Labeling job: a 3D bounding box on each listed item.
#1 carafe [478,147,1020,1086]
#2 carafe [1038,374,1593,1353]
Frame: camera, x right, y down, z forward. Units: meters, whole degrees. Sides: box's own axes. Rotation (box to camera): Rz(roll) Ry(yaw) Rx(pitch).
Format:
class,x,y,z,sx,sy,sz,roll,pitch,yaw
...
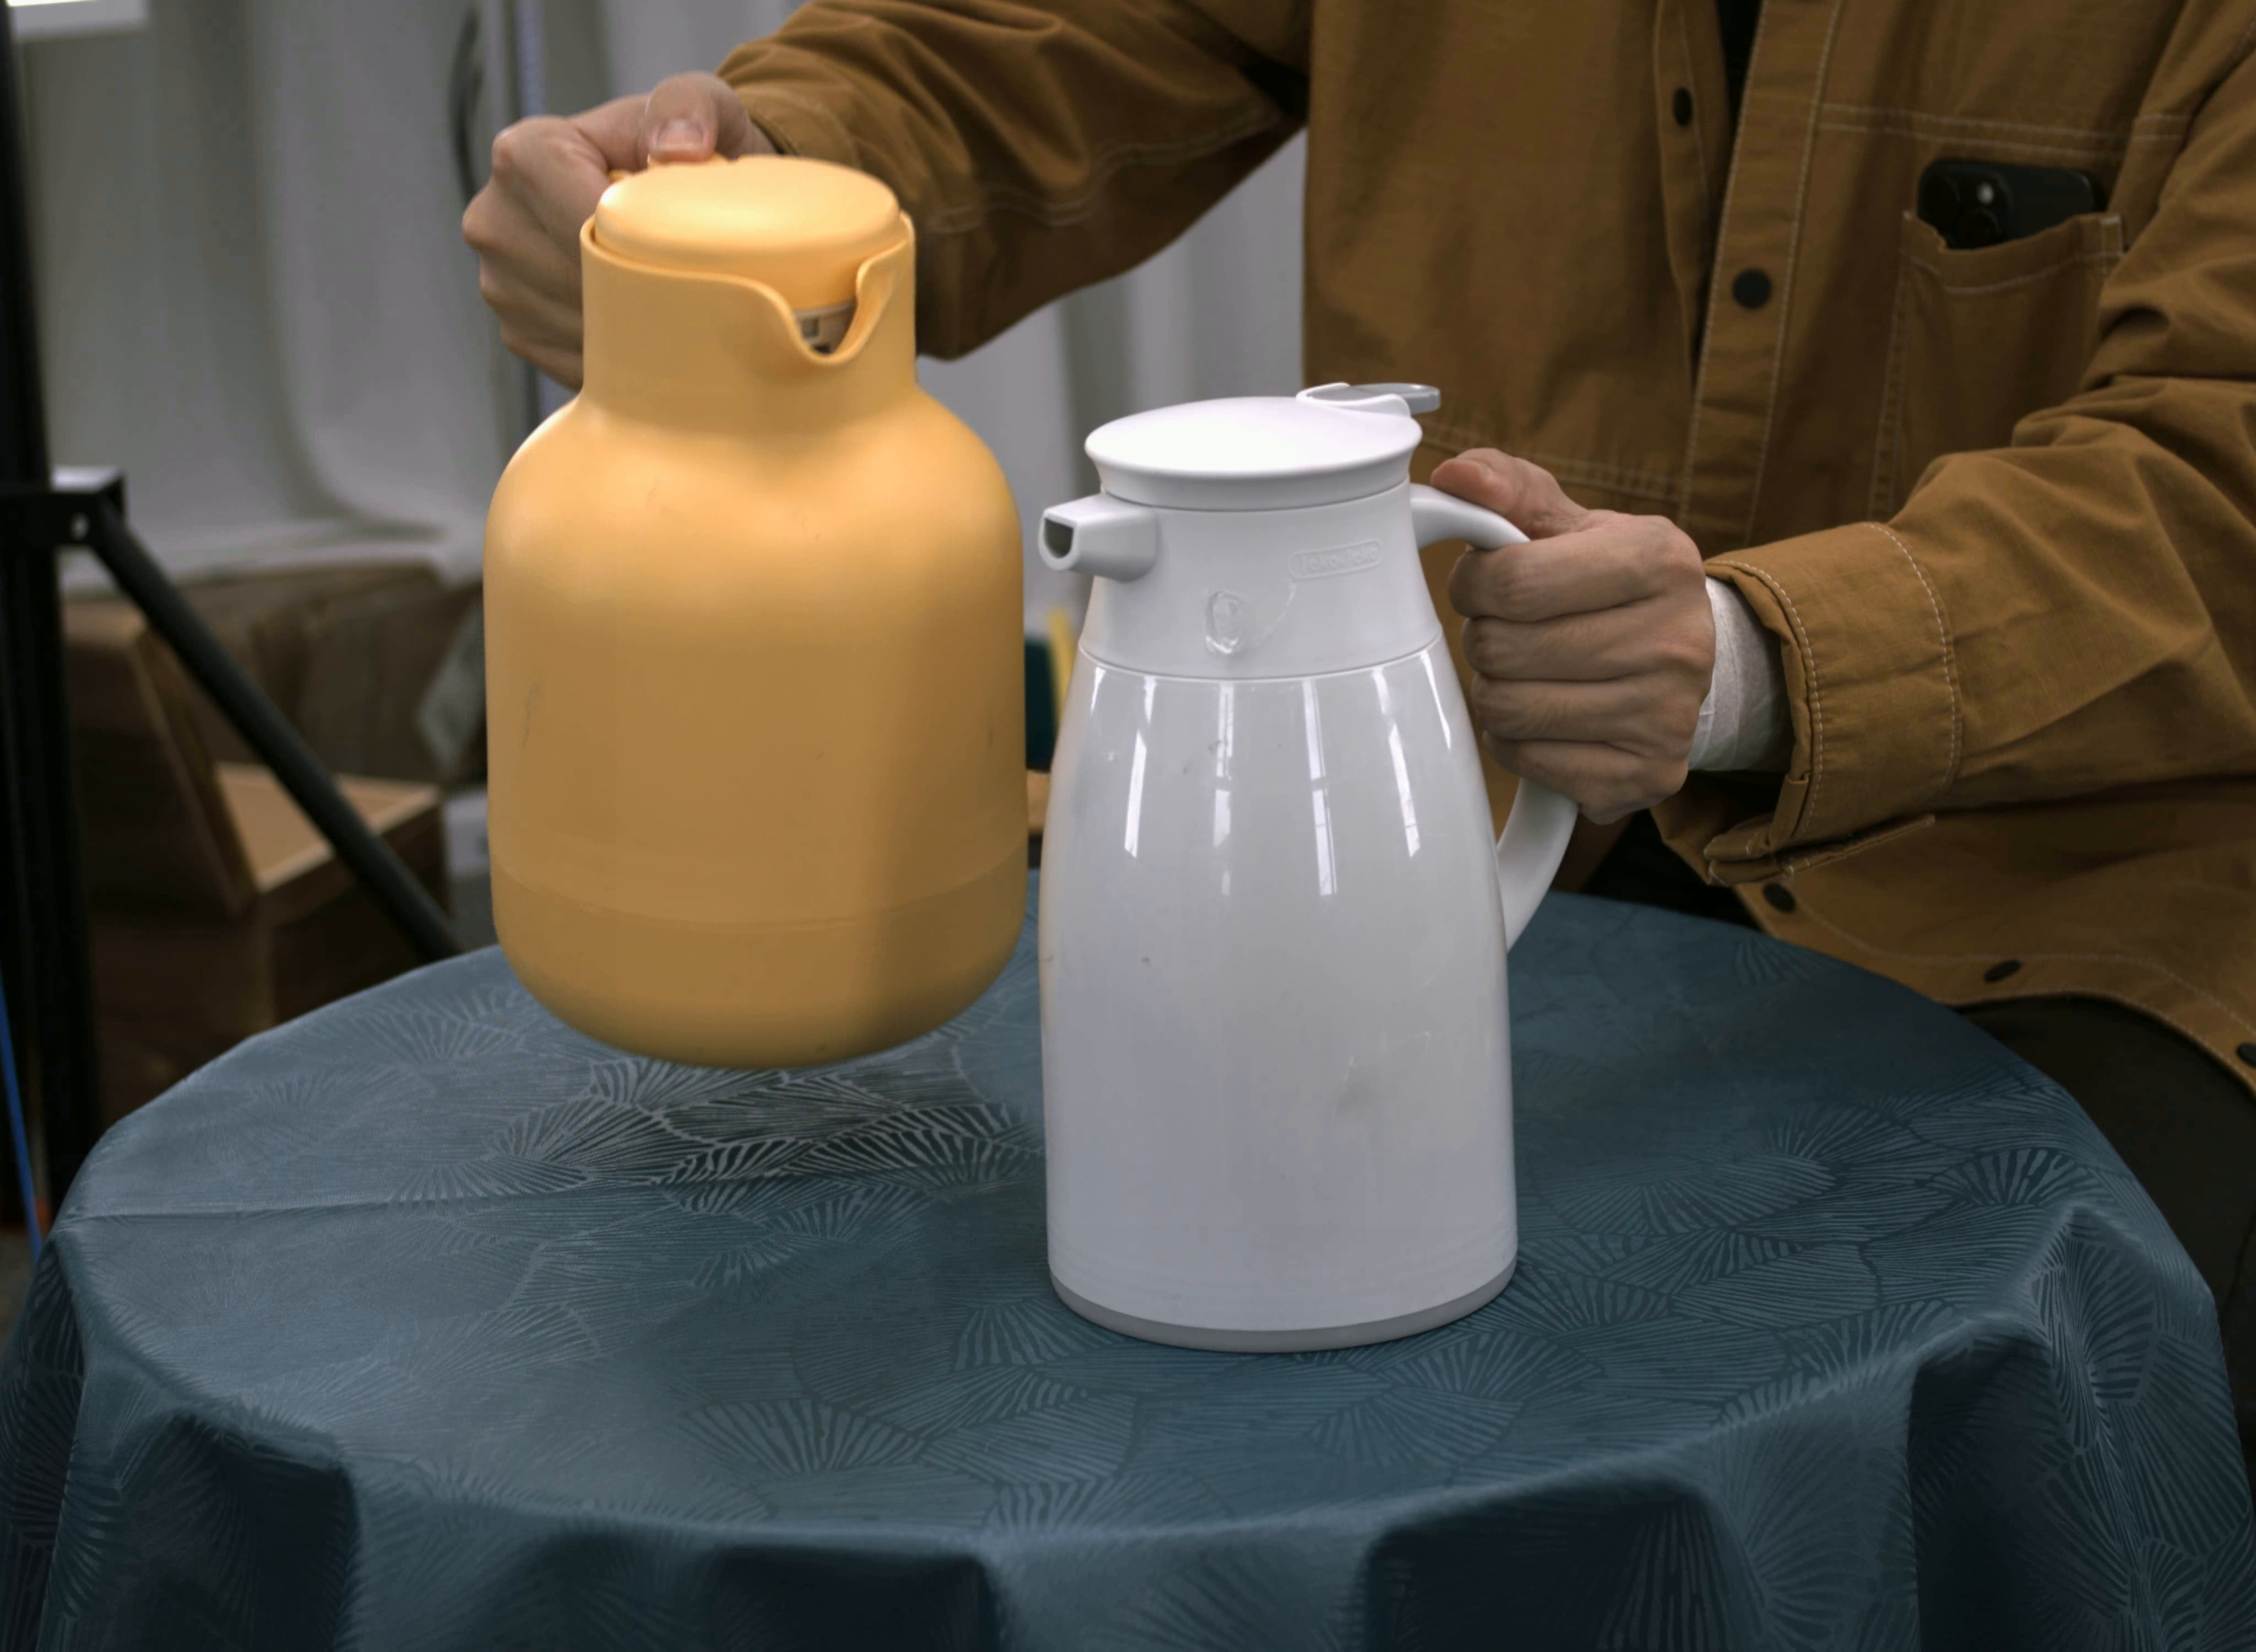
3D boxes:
class,x,y,z,sx,sy,sz,roll,pitch,yaw
carafe,-0.118,-0.071,1.601,0.160,0.260,0.206,-5,23,-19
carafe,0.055,0.002,1.464,0.164,0.248,0.135,-10,17,-29
